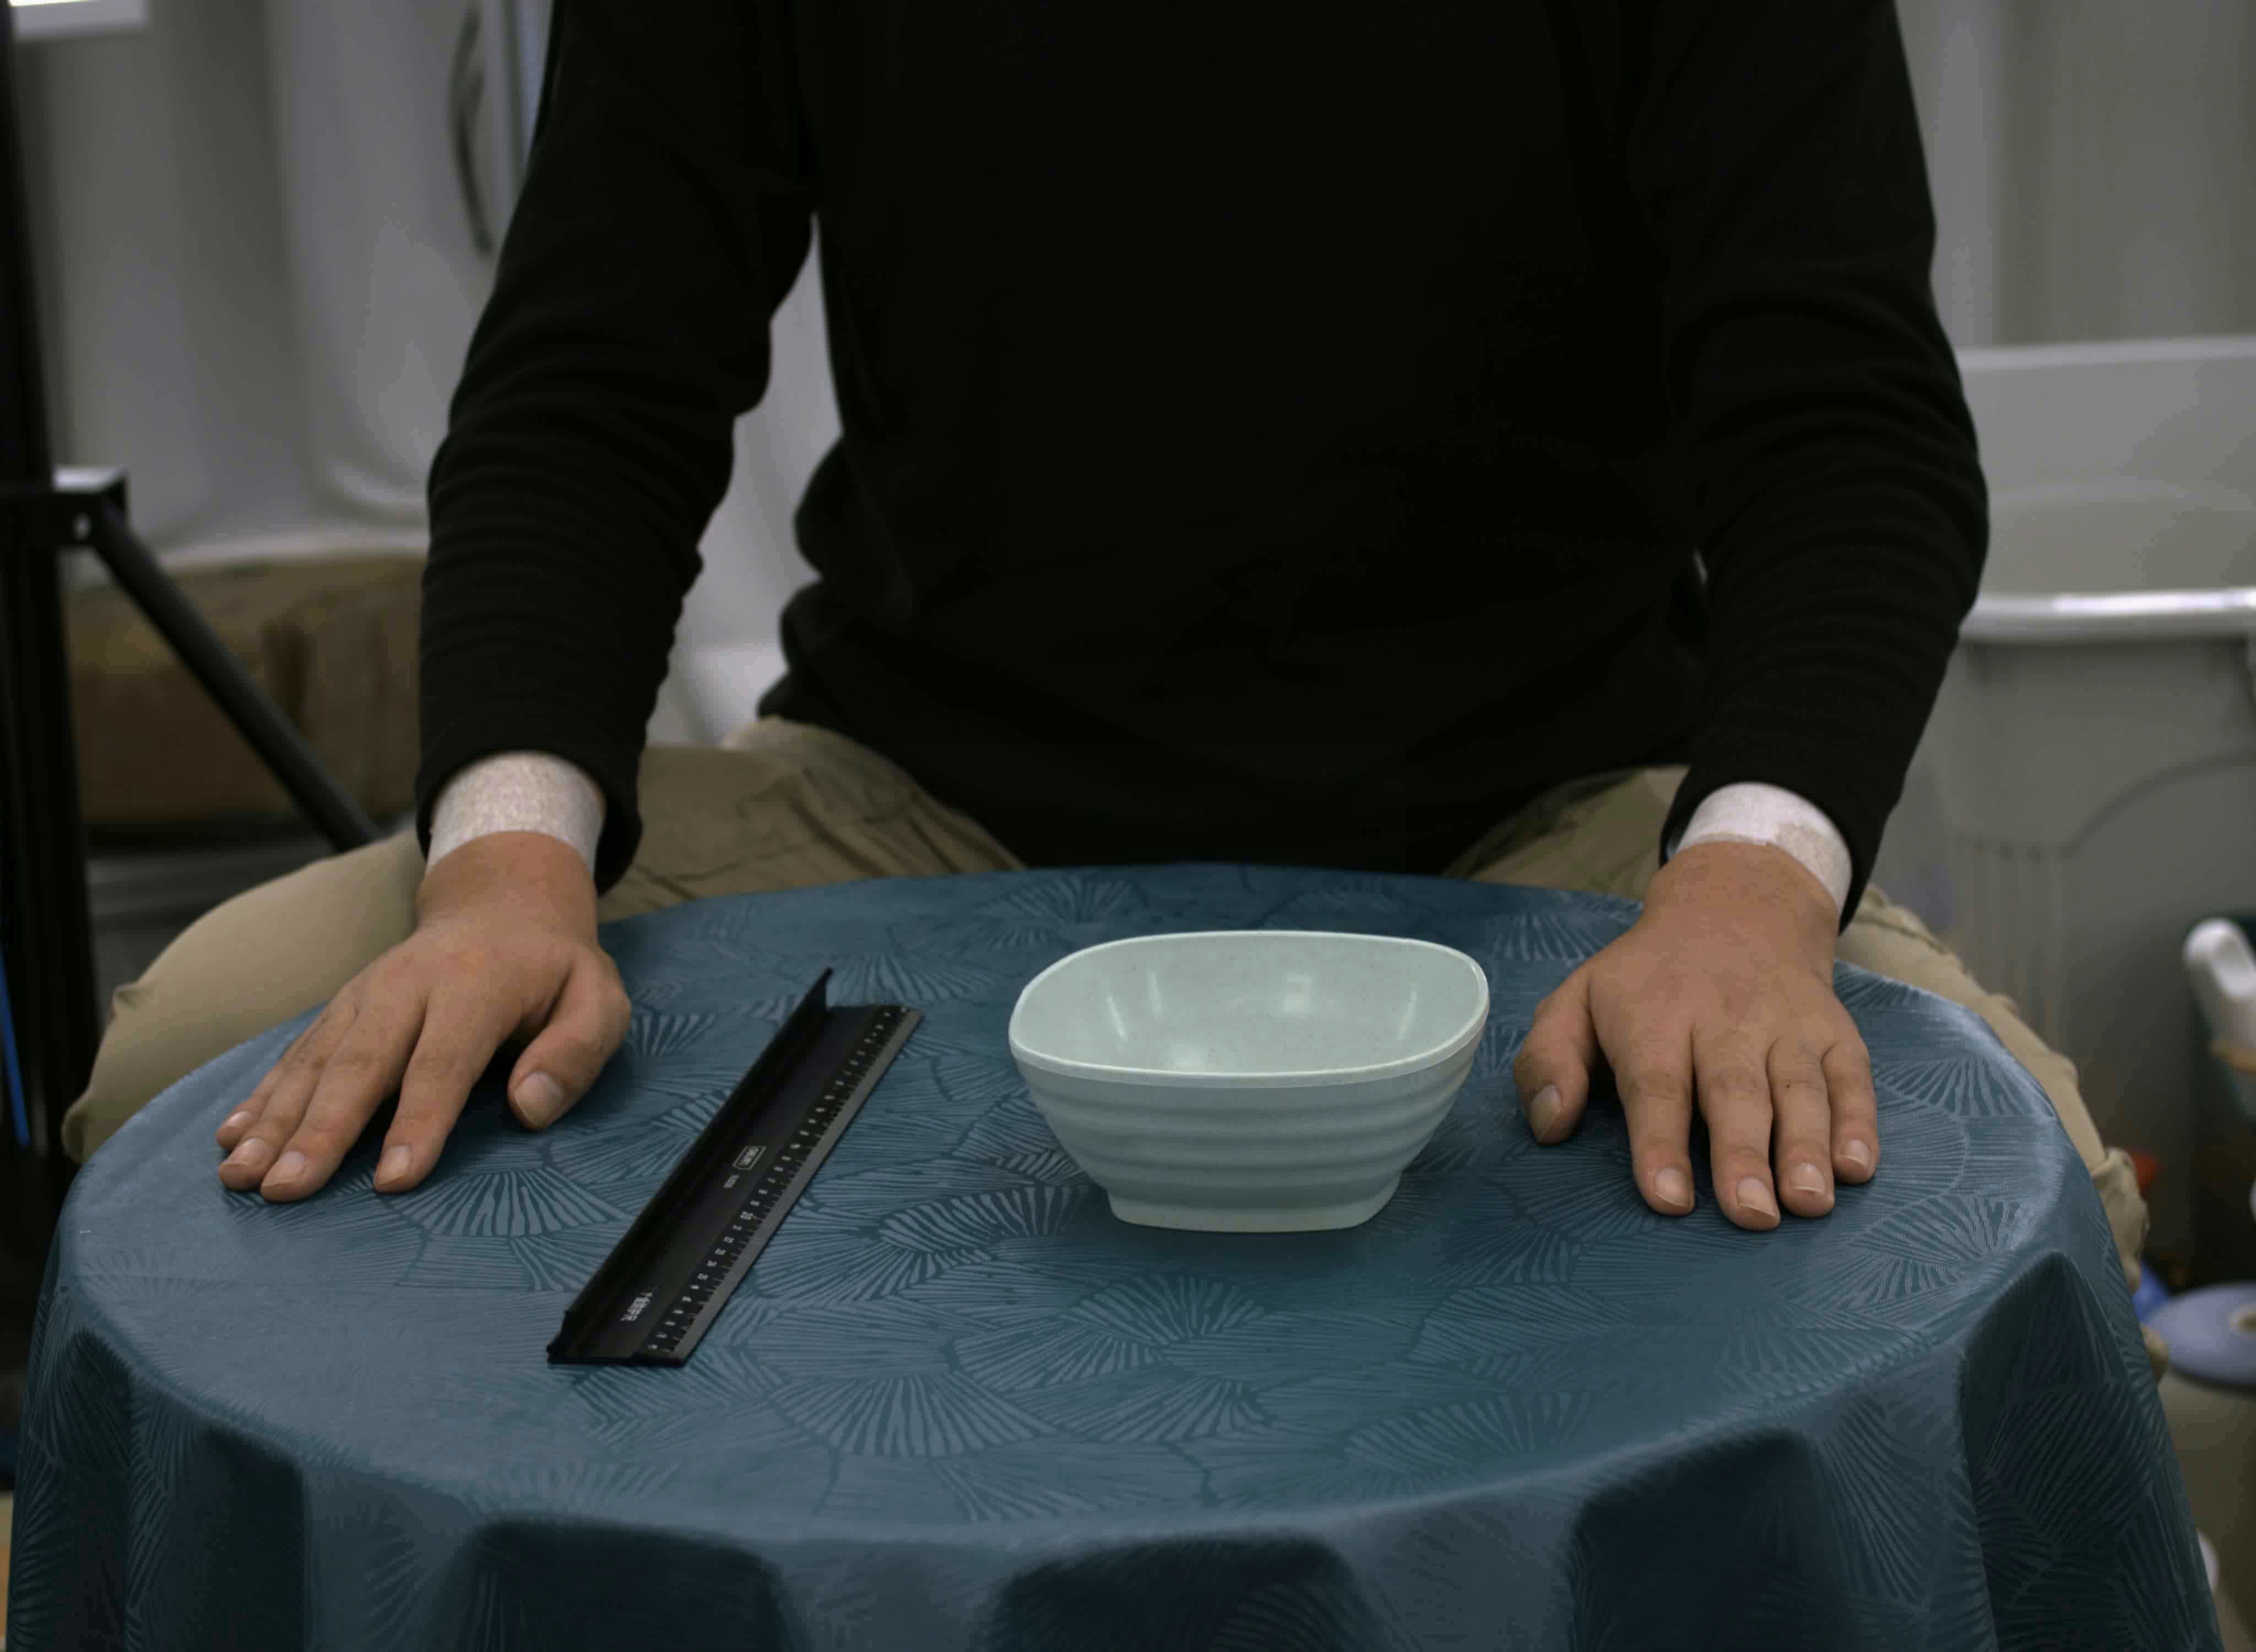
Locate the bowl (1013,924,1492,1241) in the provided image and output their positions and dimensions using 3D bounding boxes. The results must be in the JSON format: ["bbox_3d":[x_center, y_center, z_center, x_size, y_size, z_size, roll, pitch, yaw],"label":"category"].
[{"bbox_3d":[0.038,0.078,1.553,0.151,0.058,0.152,-4,18,0],"label":"bowl"}]

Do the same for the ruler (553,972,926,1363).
[{"bbox_3d":[-0.111,0.097,1.587,0.039,0.017,0.311,4,17,10],"label":"ruler"}]
